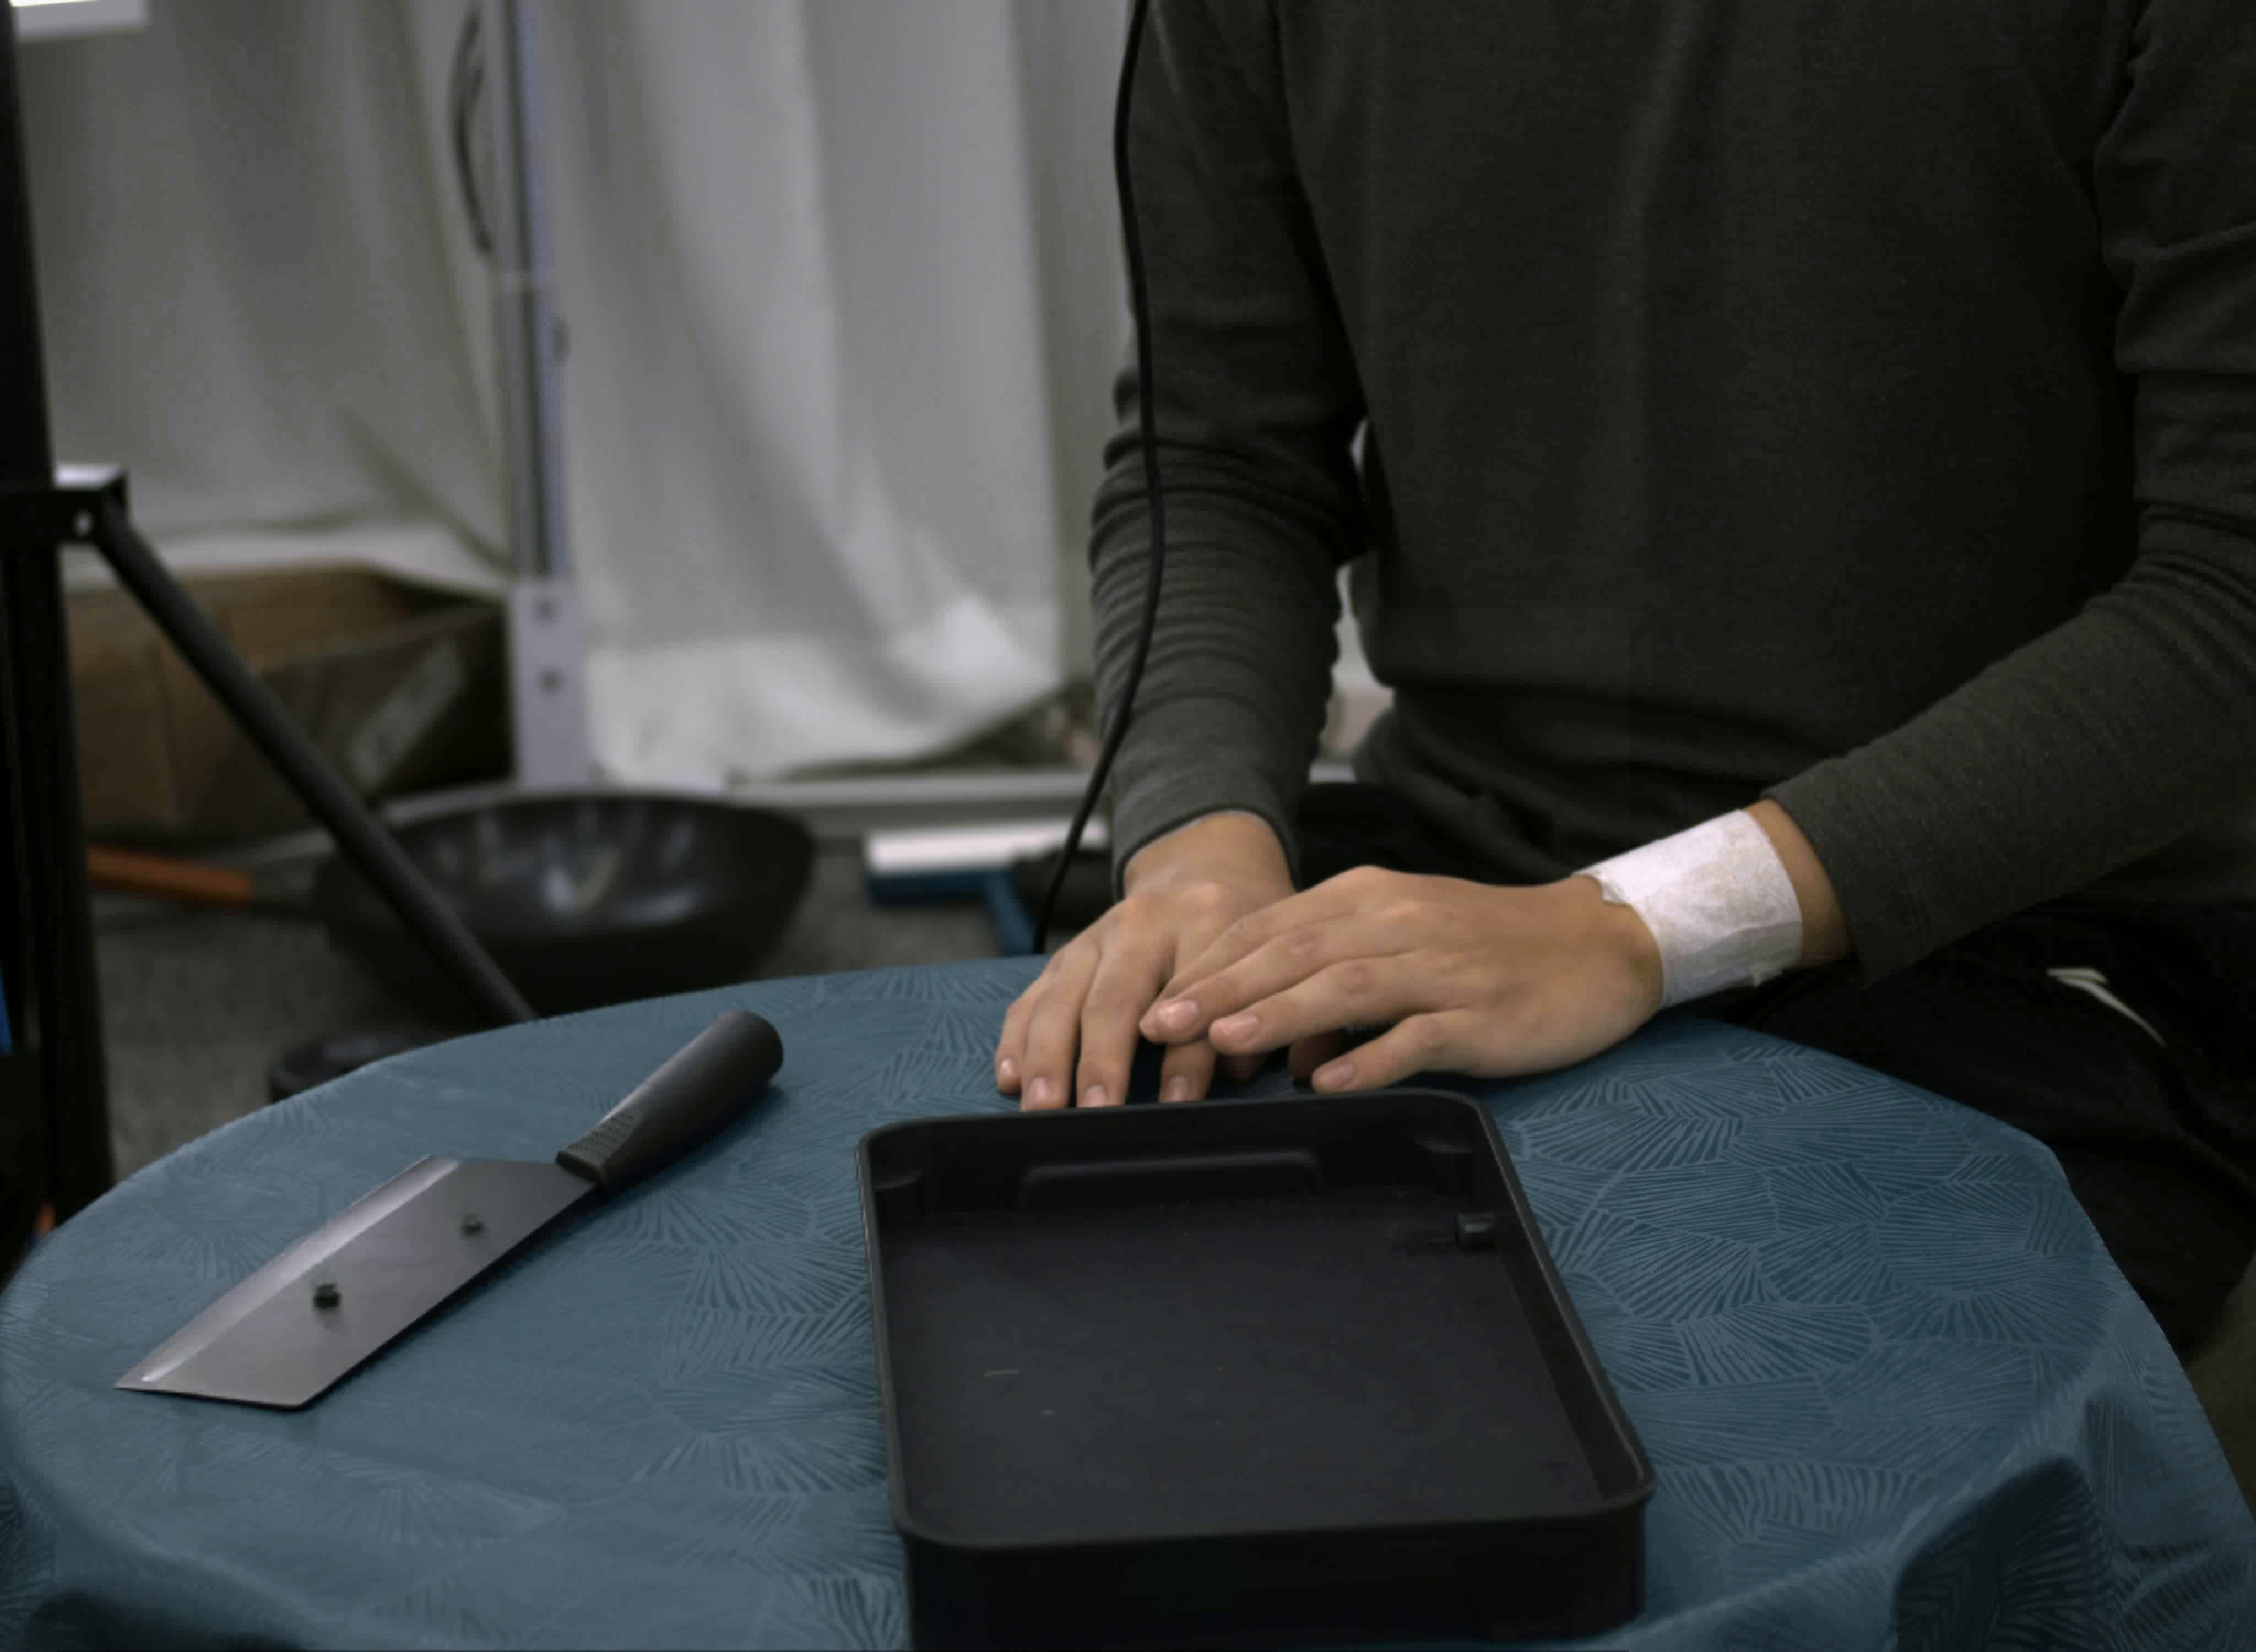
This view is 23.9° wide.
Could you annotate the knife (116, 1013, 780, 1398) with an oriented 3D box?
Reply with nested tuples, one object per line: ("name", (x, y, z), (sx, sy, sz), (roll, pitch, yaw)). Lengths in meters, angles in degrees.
("knife", (-0.188, 0.109, 1.562), (0.082, 0.021, 0.297), (5, 19, 28))

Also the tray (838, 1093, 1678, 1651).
("tray", (0.025, 0.140, 1.381), (0.183, 0.037, 0.320), (-3, 15, -5))
